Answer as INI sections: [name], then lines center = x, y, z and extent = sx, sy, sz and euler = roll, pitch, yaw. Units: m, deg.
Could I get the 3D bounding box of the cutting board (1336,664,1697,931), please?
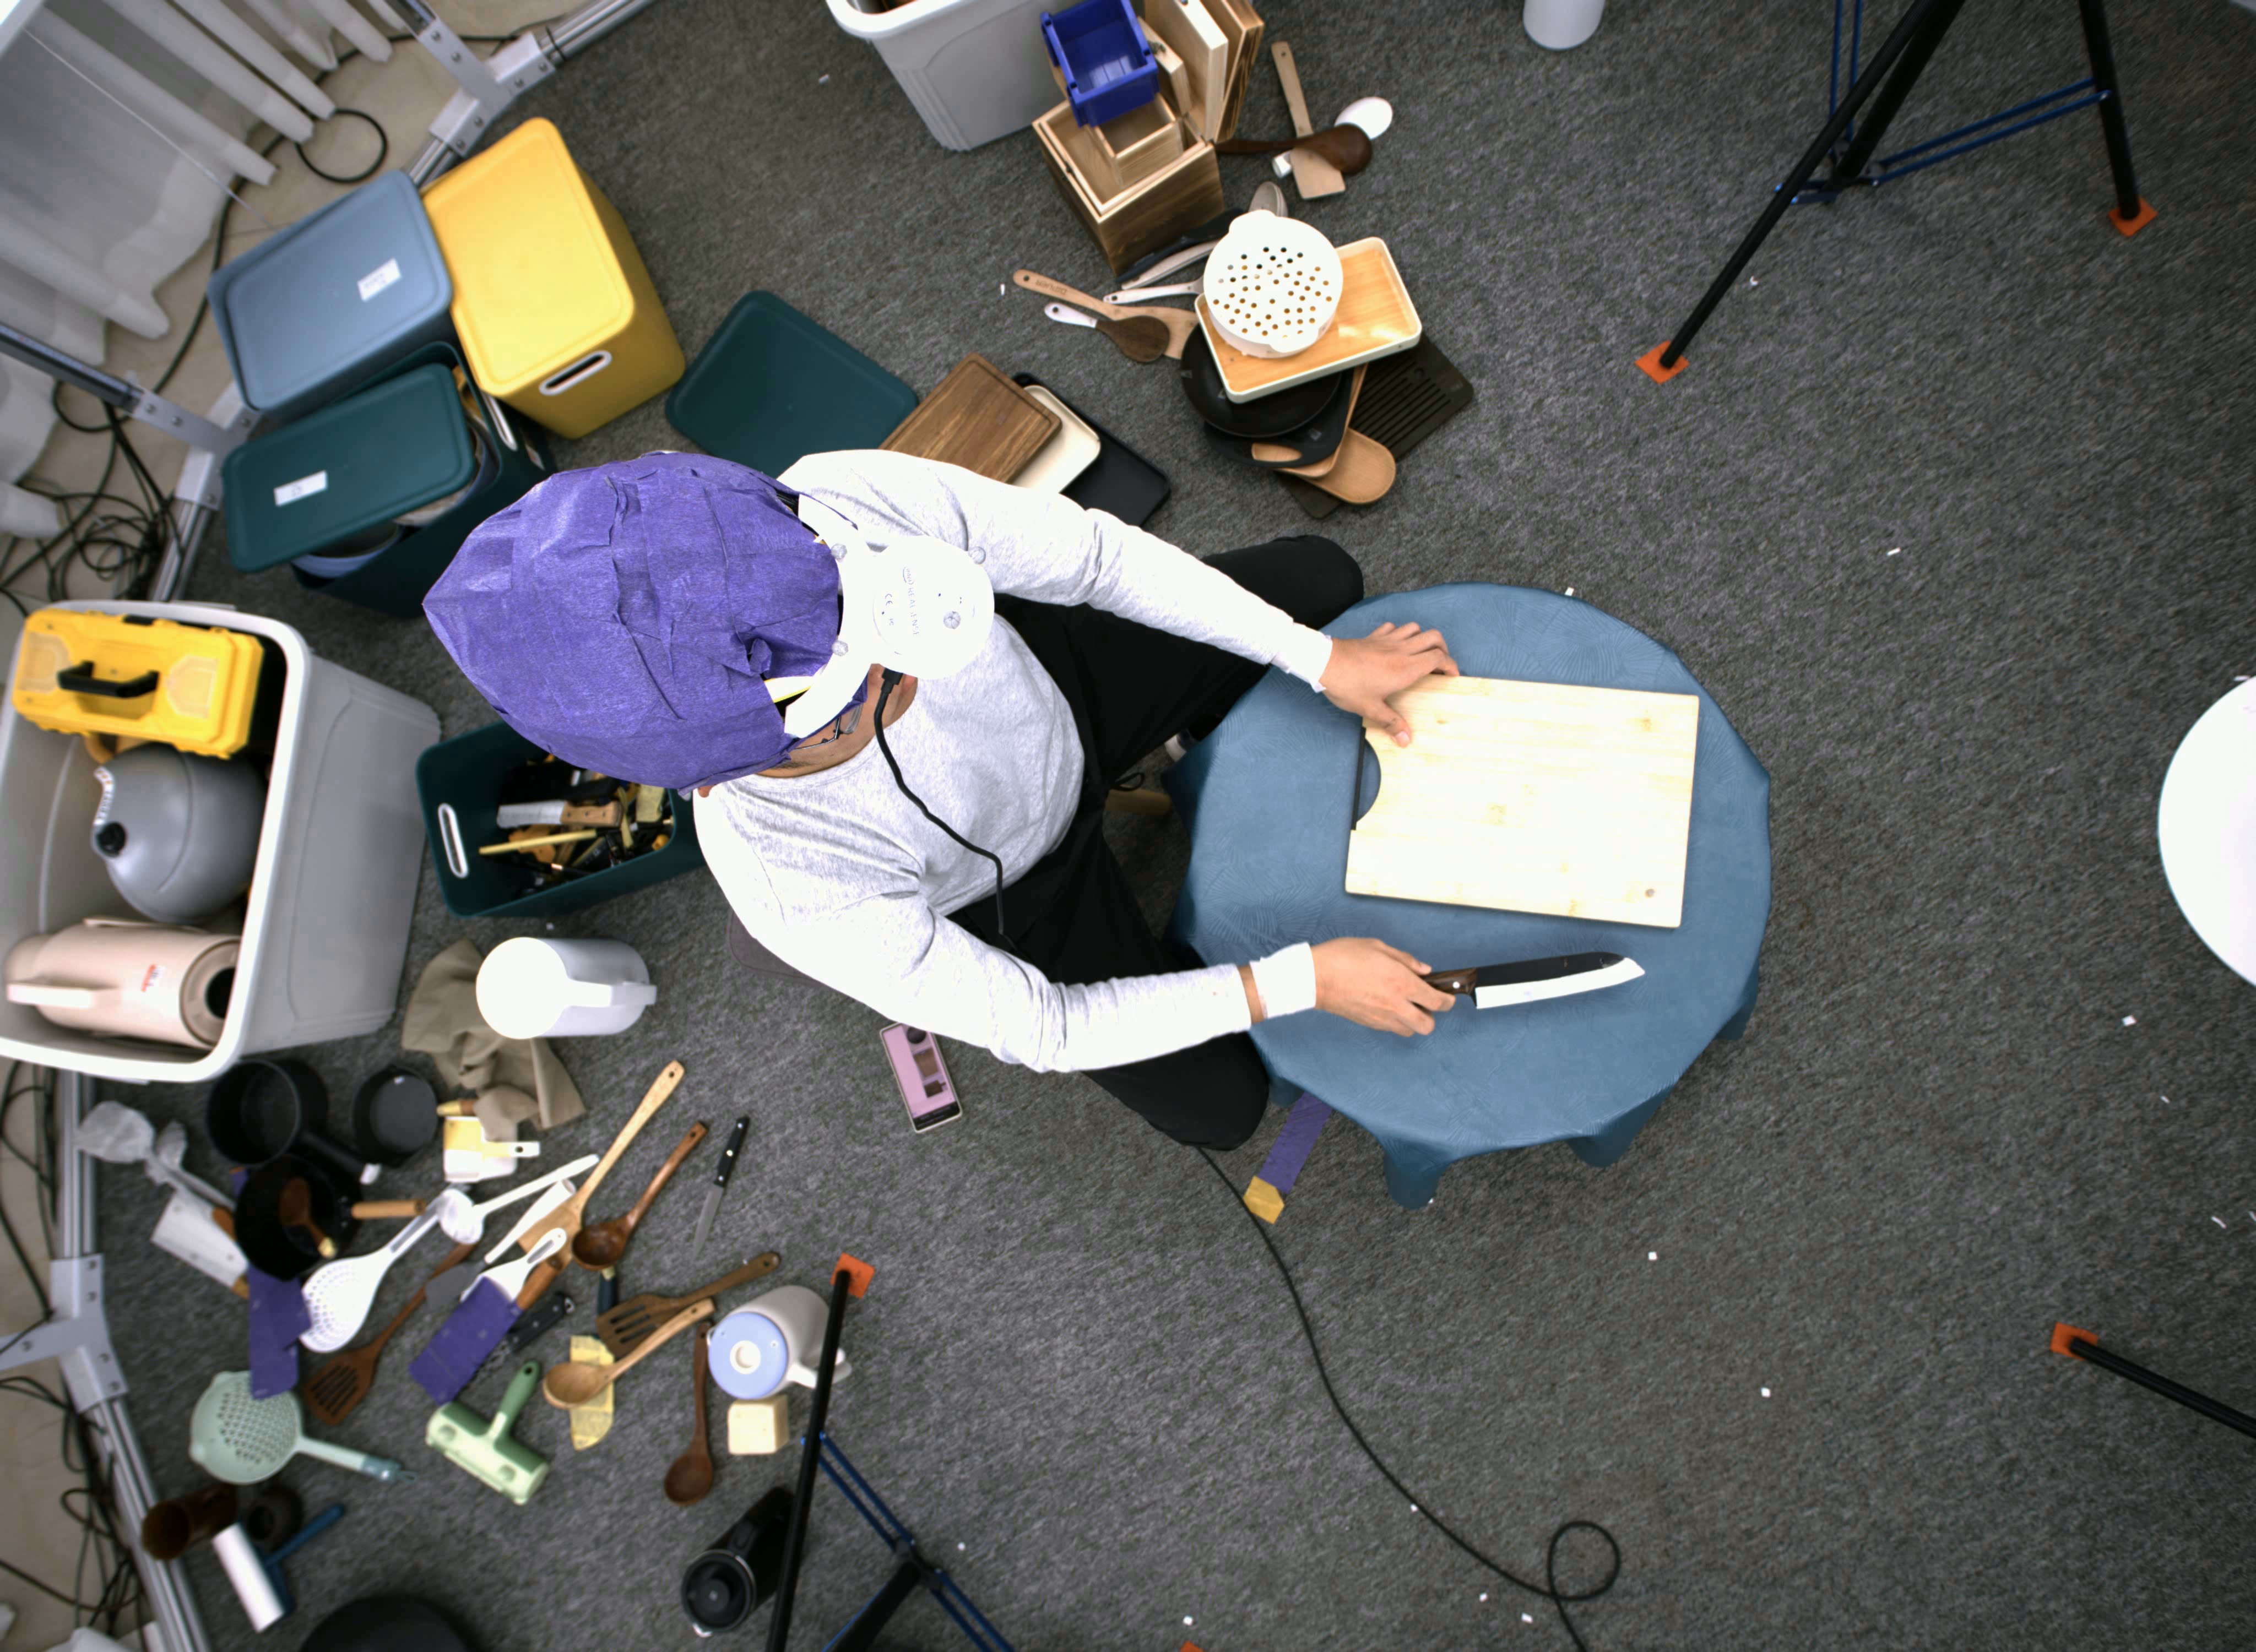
[cutting board]
center = 0.403, -0.035, 1.433
extent = 0.350, 0.023, 0.250
euler = 5, 87, 11

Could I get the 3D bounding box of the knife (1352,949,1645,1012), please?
[knife]
center = 0.369, 0.155, 1.375
extent = 0.290, 0.019, 0.051
euler = -8, 112, 9
